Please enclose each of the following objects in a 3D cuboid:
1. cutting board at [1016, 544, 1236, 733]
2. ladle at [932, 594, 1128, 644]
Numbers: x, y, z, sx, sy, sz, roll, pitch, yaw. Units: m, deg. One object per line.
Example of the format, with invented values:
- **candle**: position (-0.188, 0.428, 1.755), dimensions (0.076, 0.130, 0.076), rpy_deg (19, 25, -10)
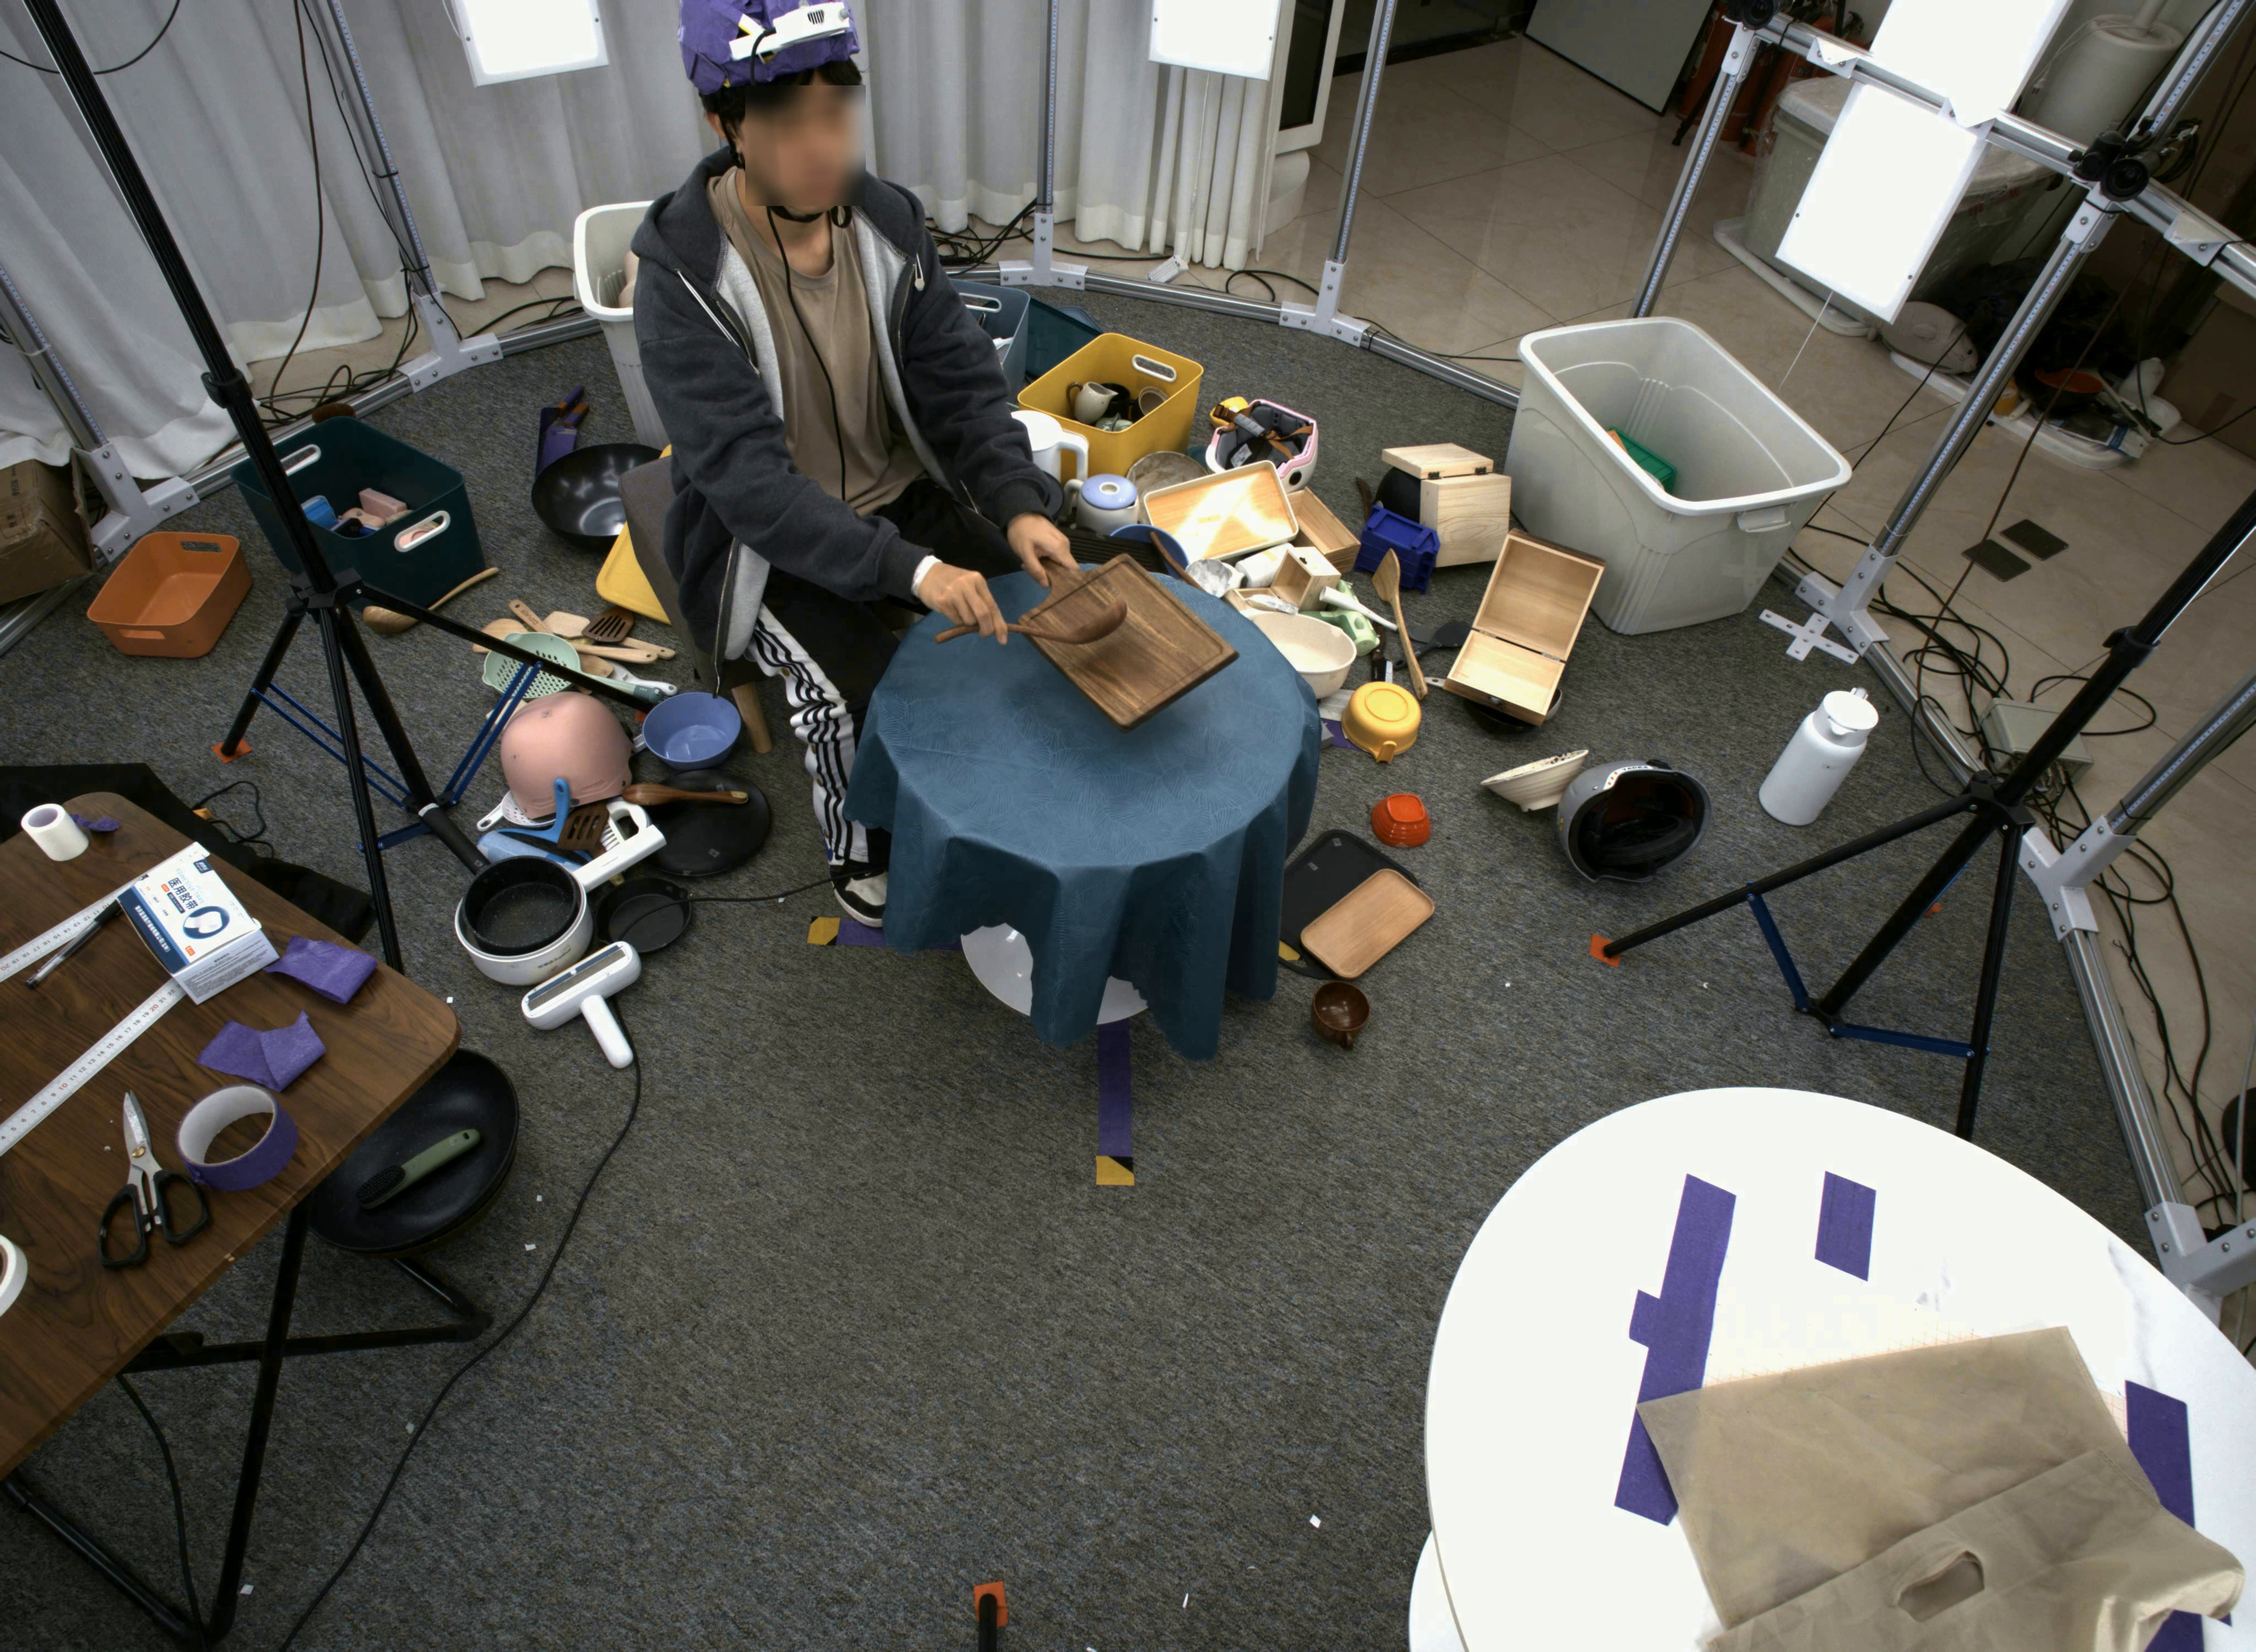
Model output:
- **cutting board**: position (-0.035, -0.288, 1.783), dimensions (0.202, 0.022, 0.358), rpy_deg (-34, 59, -17)
- **ladle**: position (-0.130, -0.275, 1.709), dimensions (0.260, 0.076, 0.065), rpy_deg (1, 90, 4)
